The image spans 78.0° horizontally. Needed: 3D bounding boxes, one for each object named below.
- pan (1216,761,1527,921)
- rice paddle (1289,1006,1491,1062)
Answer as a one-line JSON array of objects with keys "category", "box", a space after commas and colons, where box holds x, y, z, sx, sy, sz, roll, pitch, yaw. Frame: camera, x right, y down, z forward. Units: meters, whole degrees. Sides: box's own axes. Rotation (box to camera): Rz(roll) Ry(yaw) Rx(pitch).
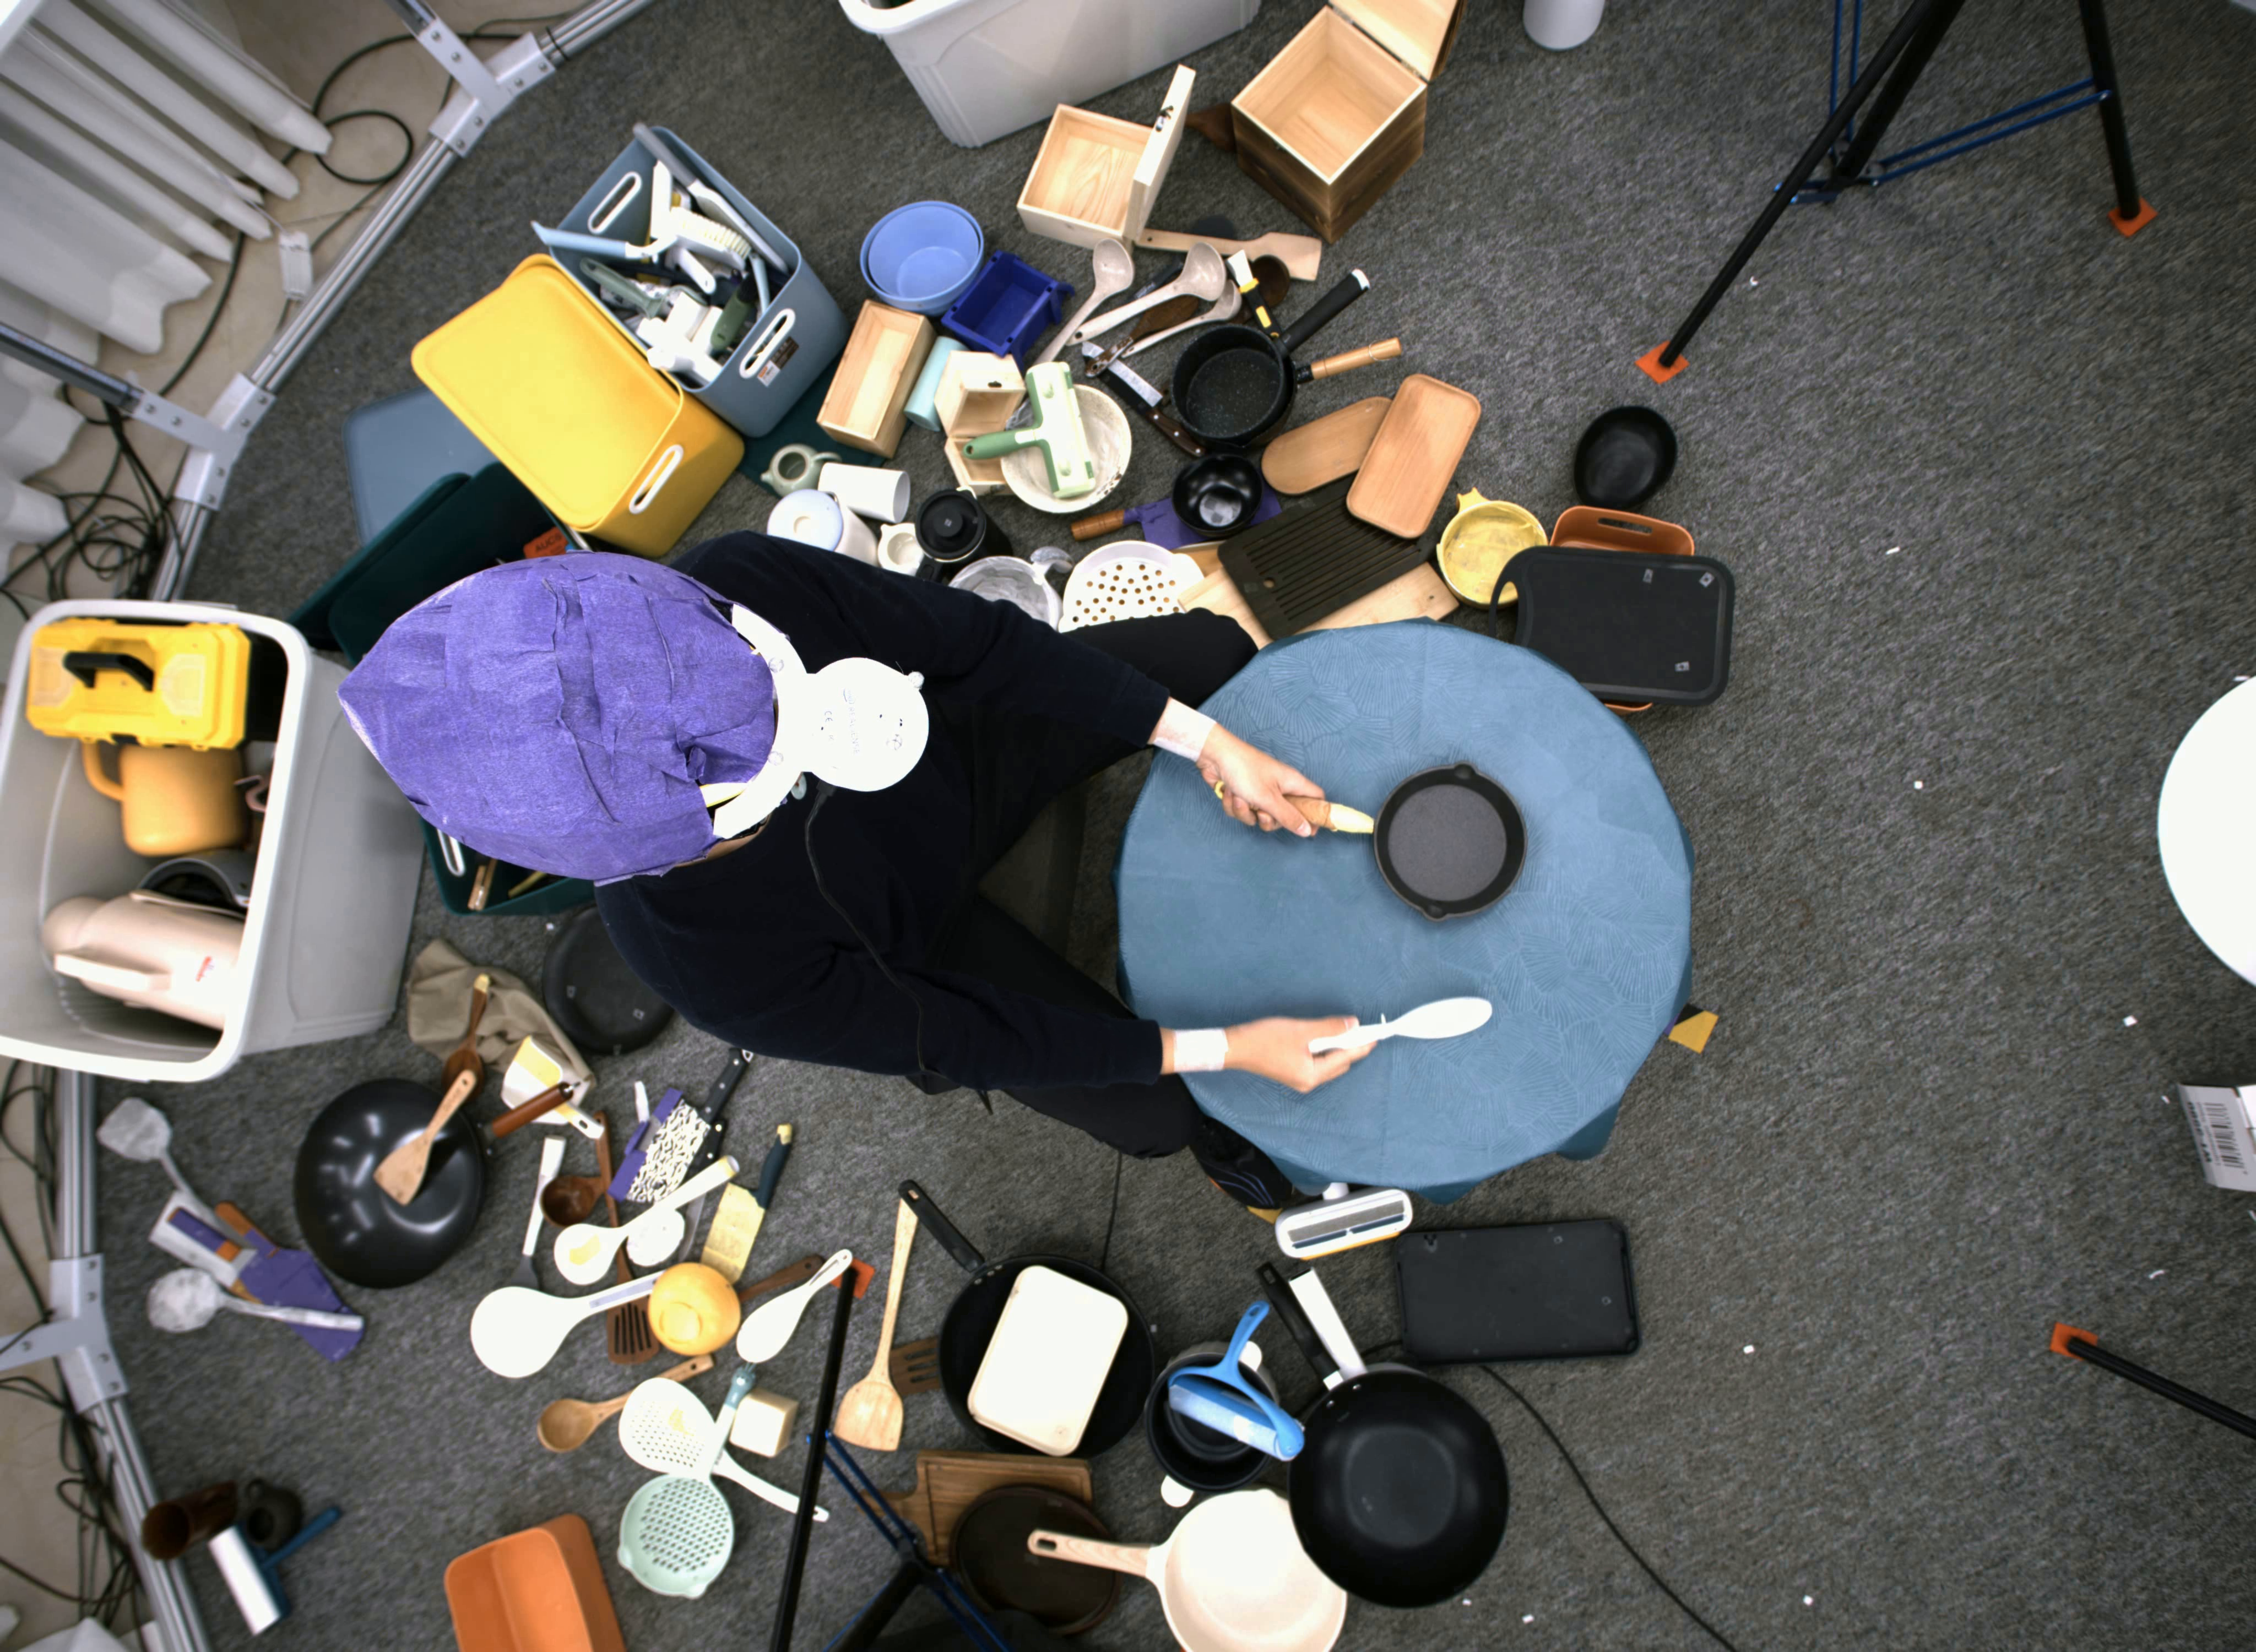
[{"category": "pan", "box": [0.250, -0.006, 1.433, 0.324, 0.049, 0.168, 14, 90, 6]}, {"category": "rice paddle", "box": [0.268, 0.209, 1.410, 0.206, 0.070, 0.029, -10, 59, 8]}]
